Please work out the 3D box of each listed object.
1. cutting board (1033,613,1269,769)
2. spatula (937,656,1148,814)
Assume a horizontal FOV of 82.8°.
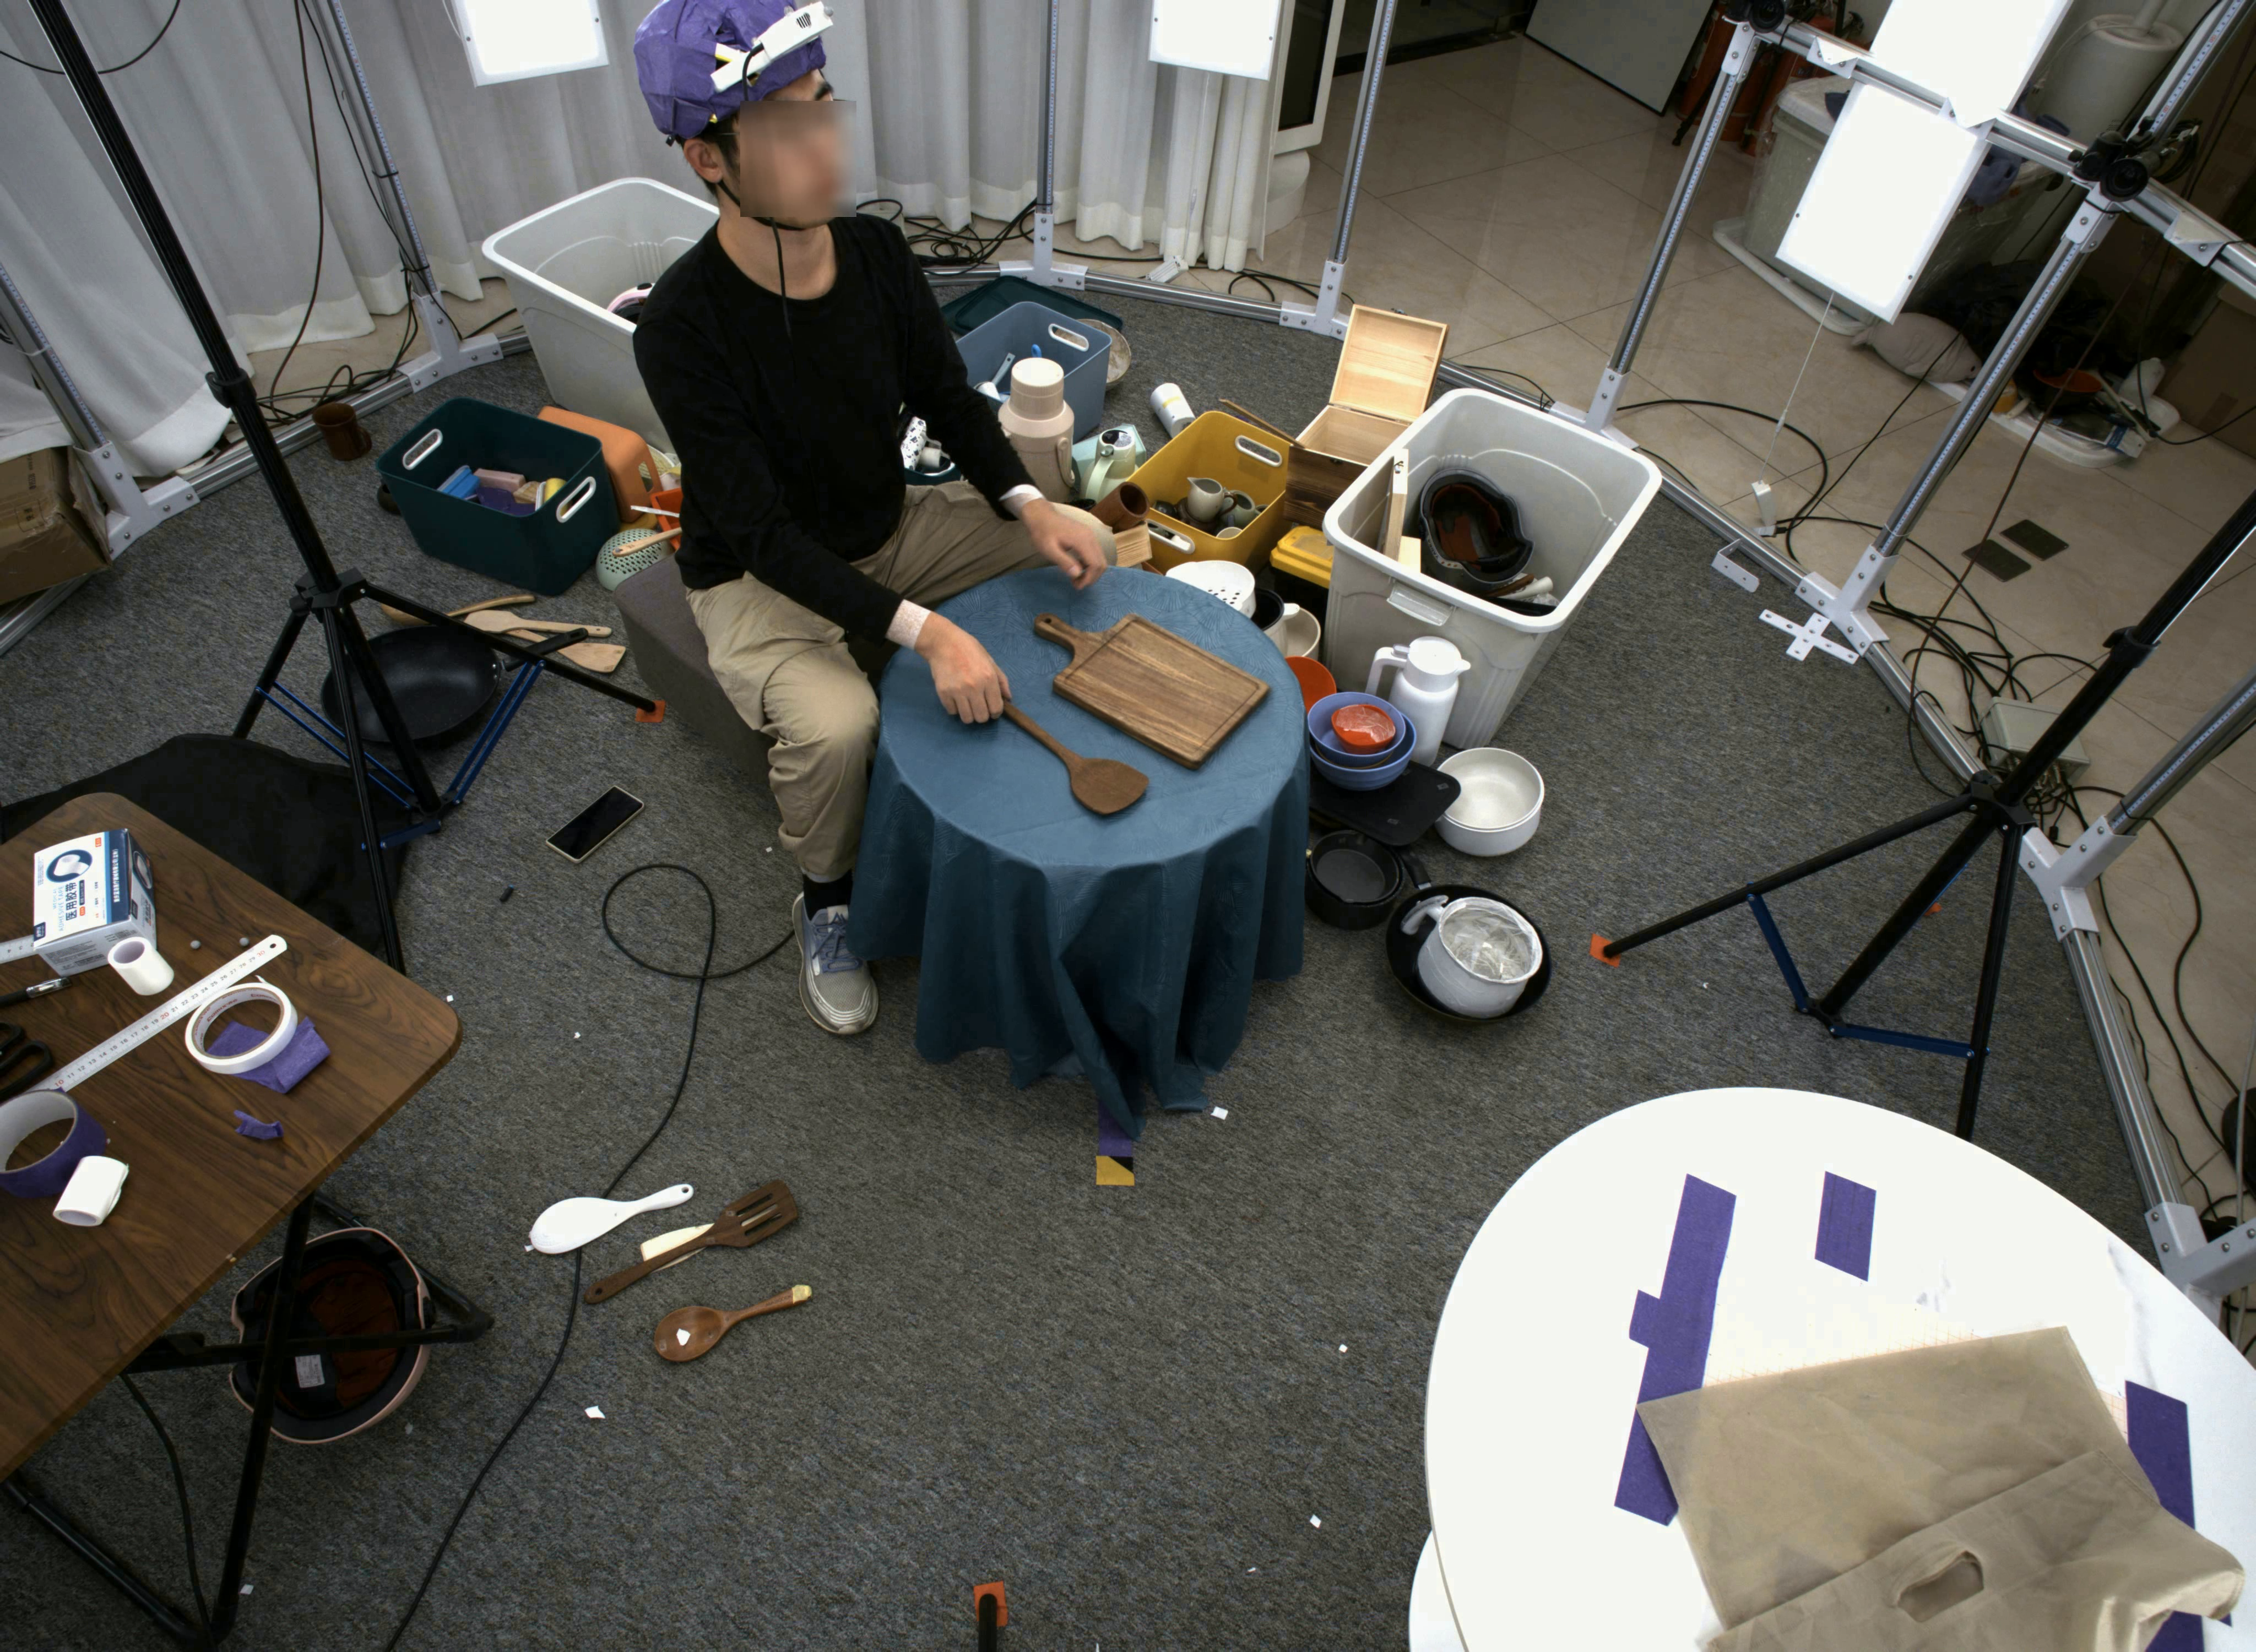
[{"bbox_3d":[0.008,-0.223,1.850,0.356,0.022,0.204,30,54,21],"label":"cutting board"},{"bbox_3d":[-0.134,-0.137,1.769,0.391,0.015,0.097,38,57,26],"label":"spatula"}]
